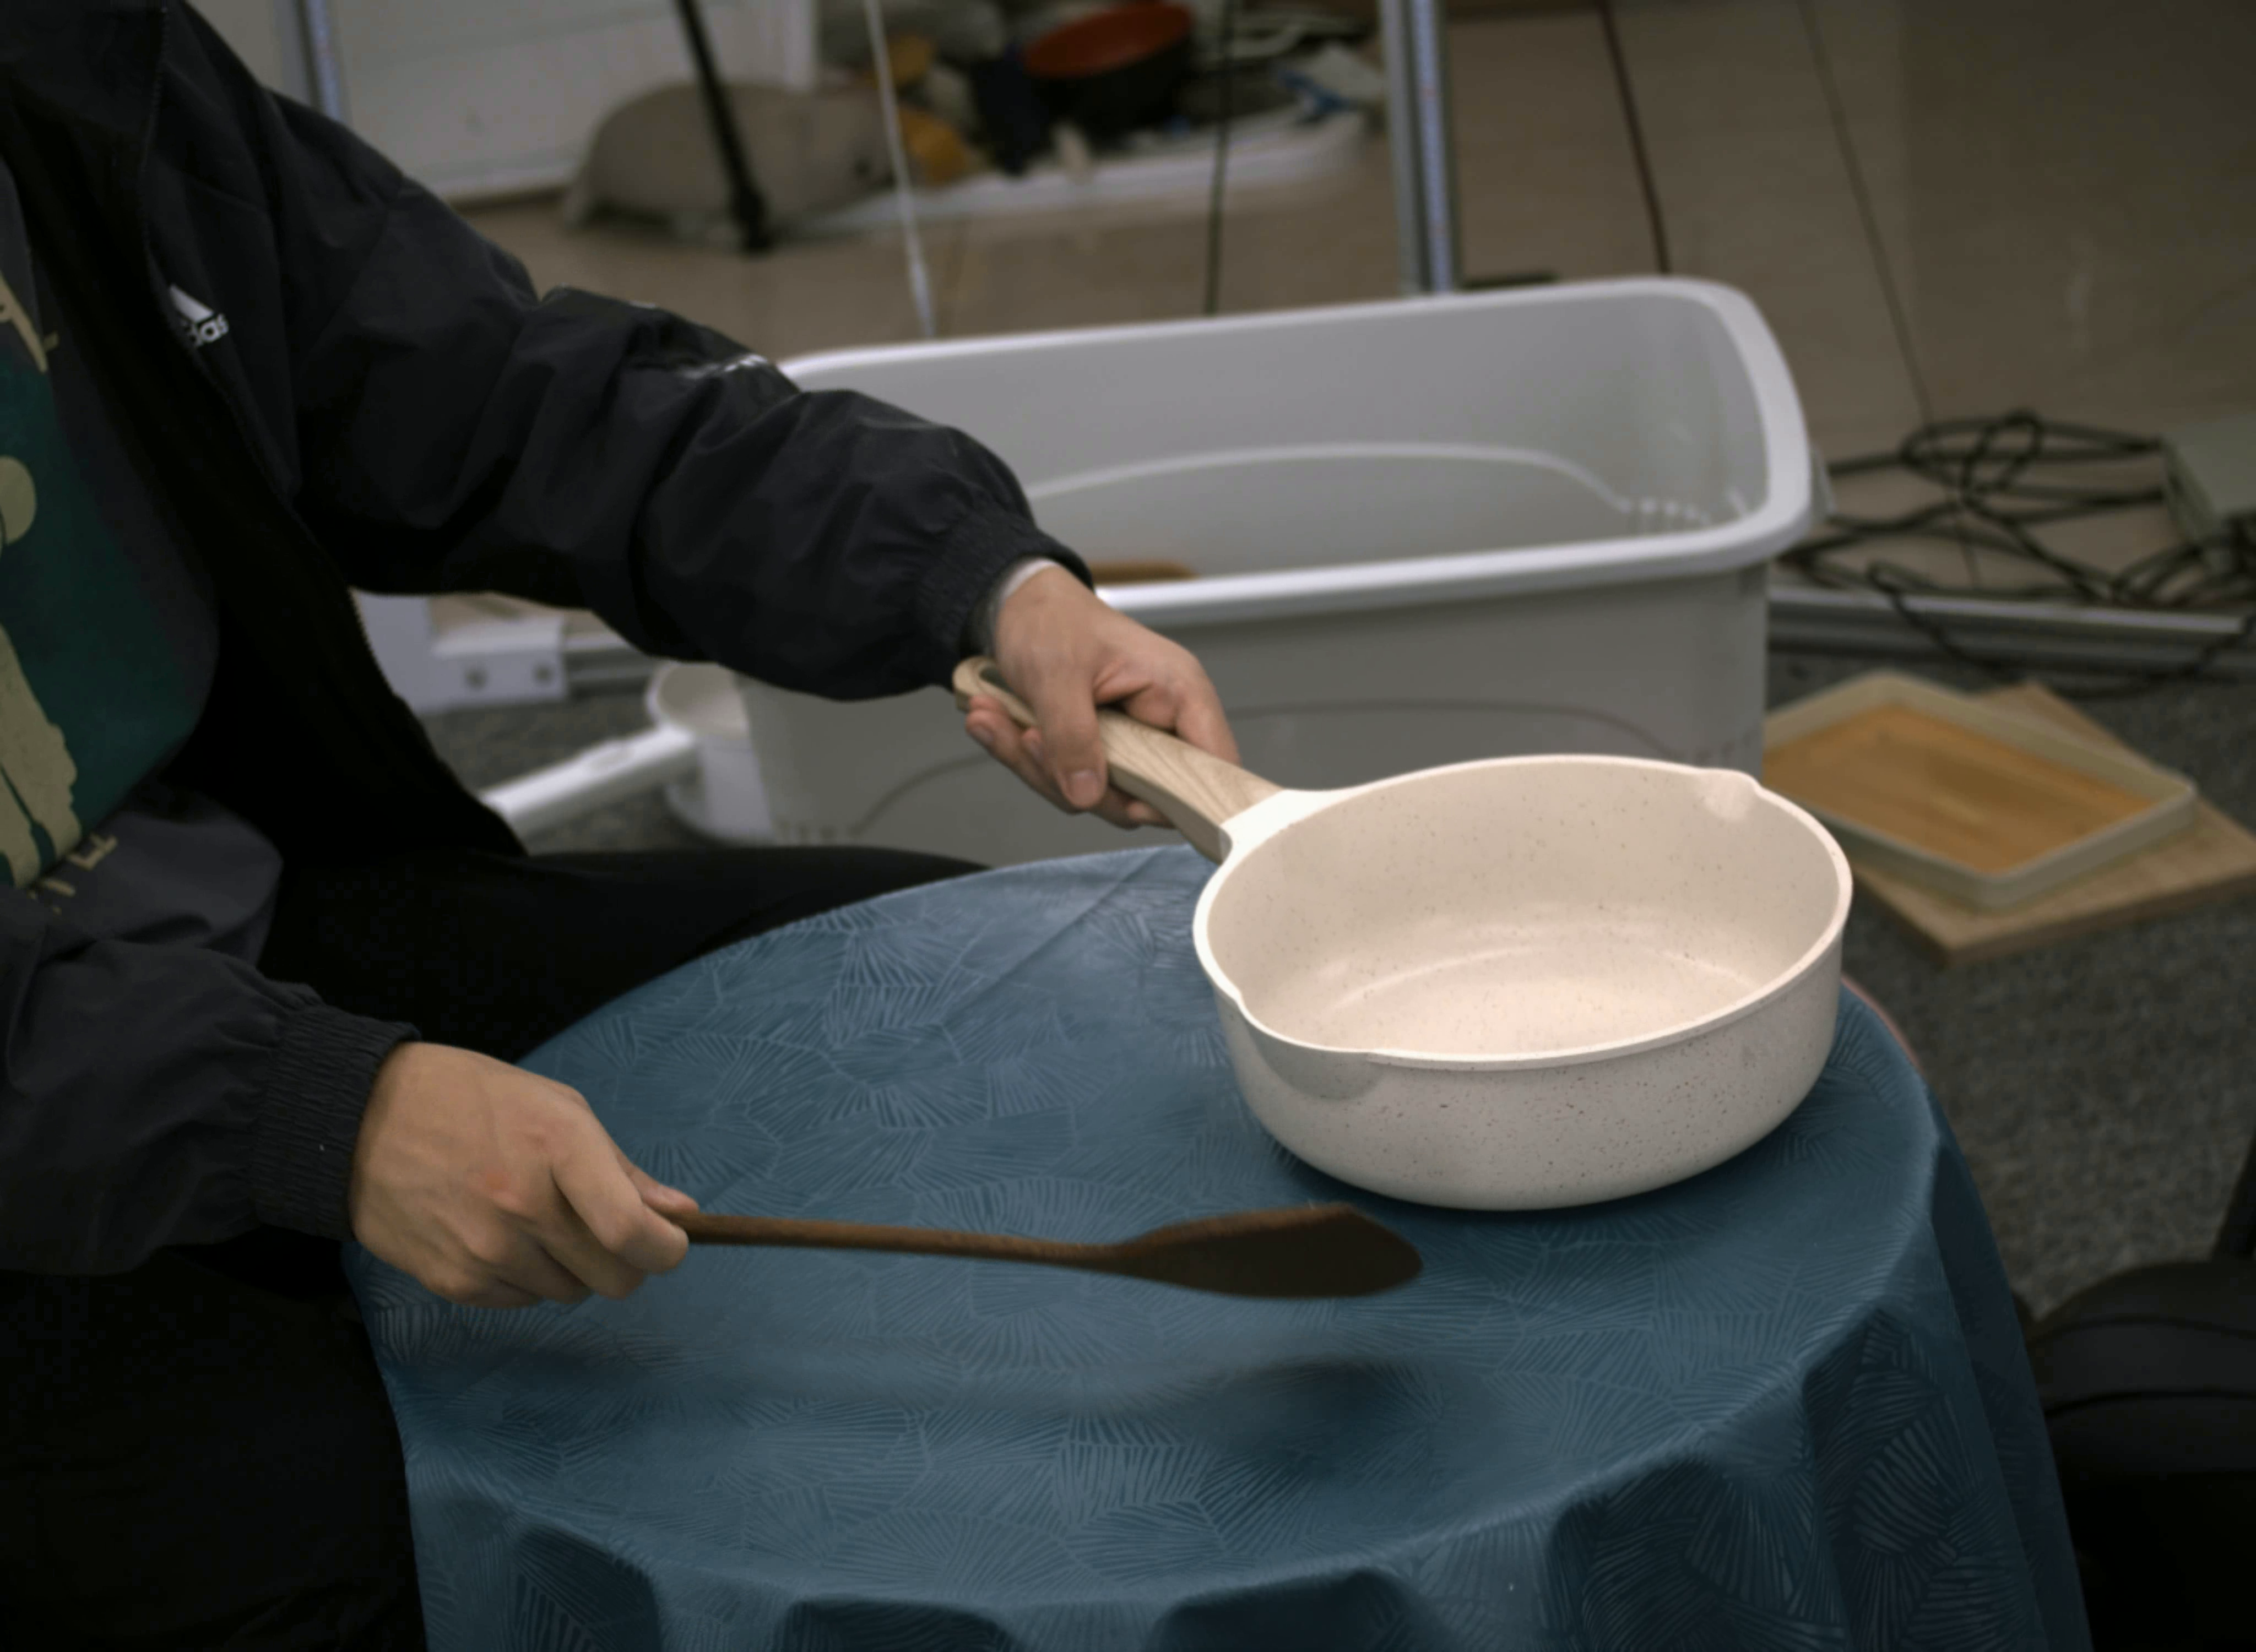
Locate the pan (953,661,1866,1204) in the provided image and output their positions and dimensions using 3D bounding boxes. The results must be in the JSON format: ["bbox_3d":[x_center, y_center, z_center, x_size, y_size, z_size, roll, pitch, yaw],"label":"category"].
[{"bbox_3d":[0.093,0.031,2.226,0.431,0.104,0.261,20,38,42],"label":"pan"}]

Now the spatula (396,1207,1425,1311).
[{"bbox_3d":[-0.083,0.151,2.021,0.385,0.097,0.015,2,71,17],"label":"spatula"}]
